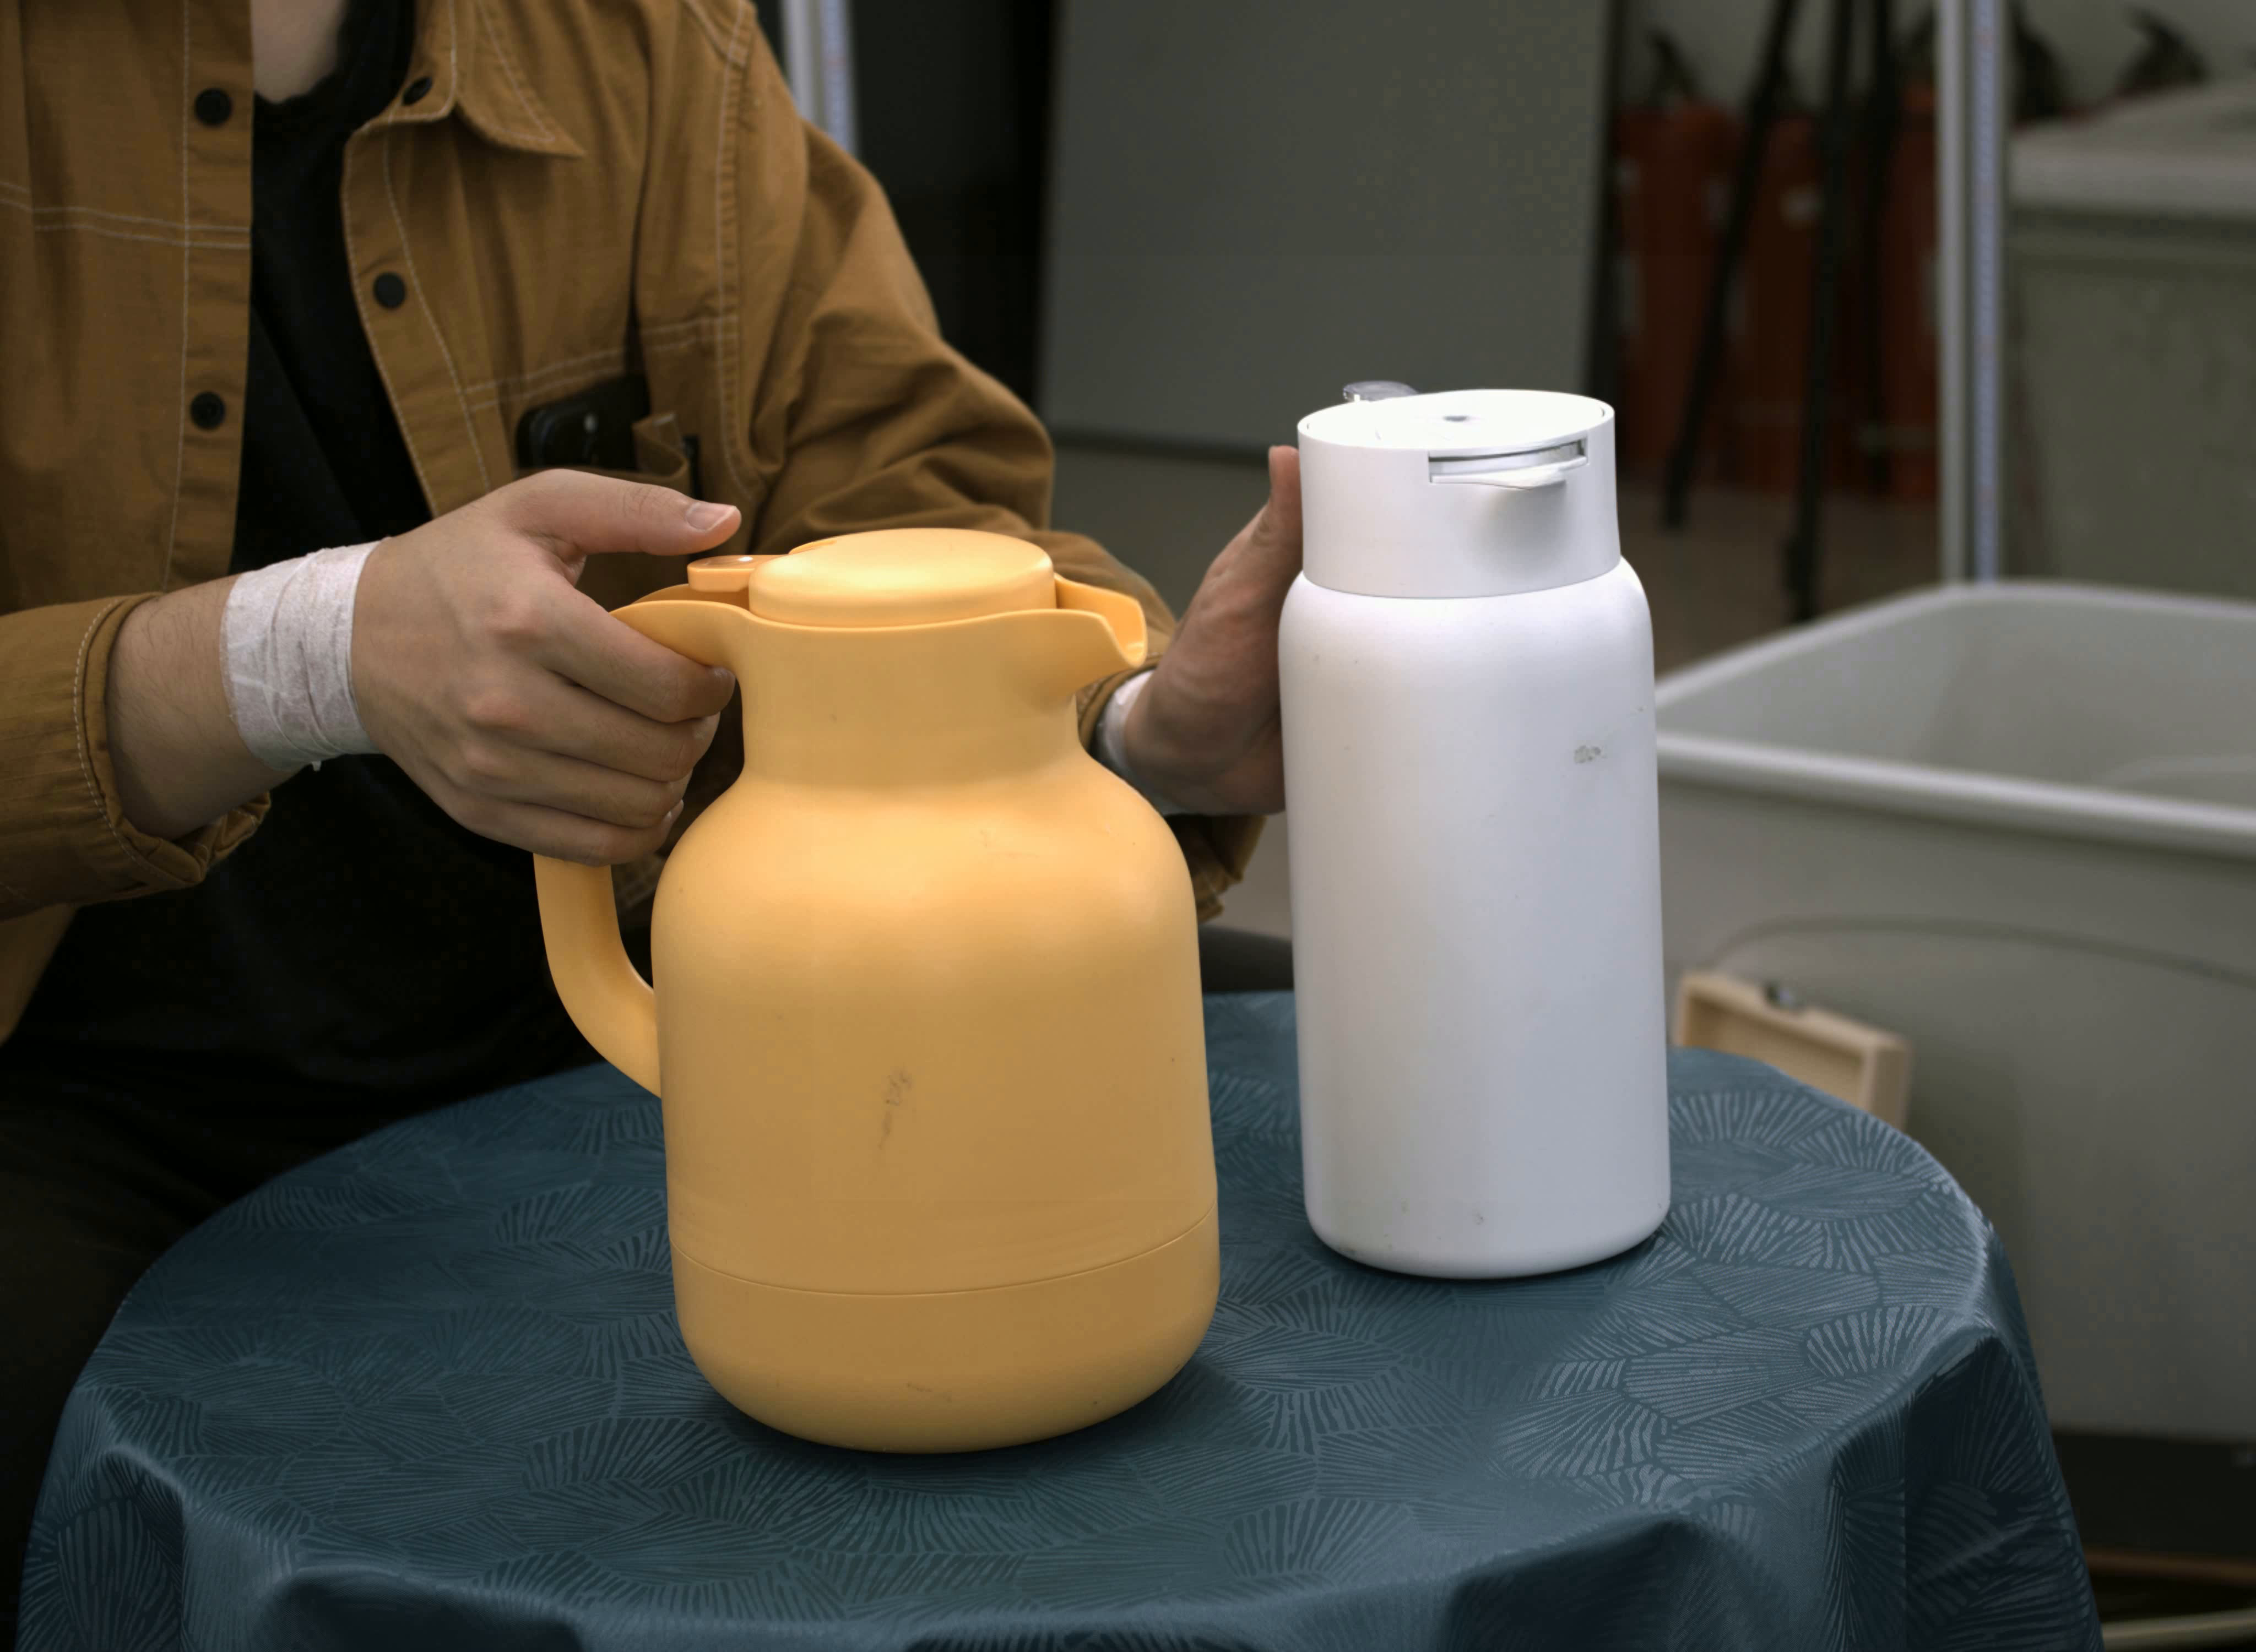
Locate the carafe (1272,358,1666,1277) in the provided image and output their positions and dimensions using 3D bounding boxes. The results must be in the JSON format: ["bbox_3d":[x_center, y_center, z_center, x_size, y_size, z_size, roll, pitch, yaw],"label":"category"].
[{"bbox_3d":[0.099,-0.006,1.695,0.121,0.272,0.174,-10,15,-18],"label":"carafe"}]

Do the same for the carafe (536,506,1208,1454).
[{"bbox_3d":[-0.076,0.039,1.578,0.203,0.263,0.161,4,12,25],"label":"carafe"}]
